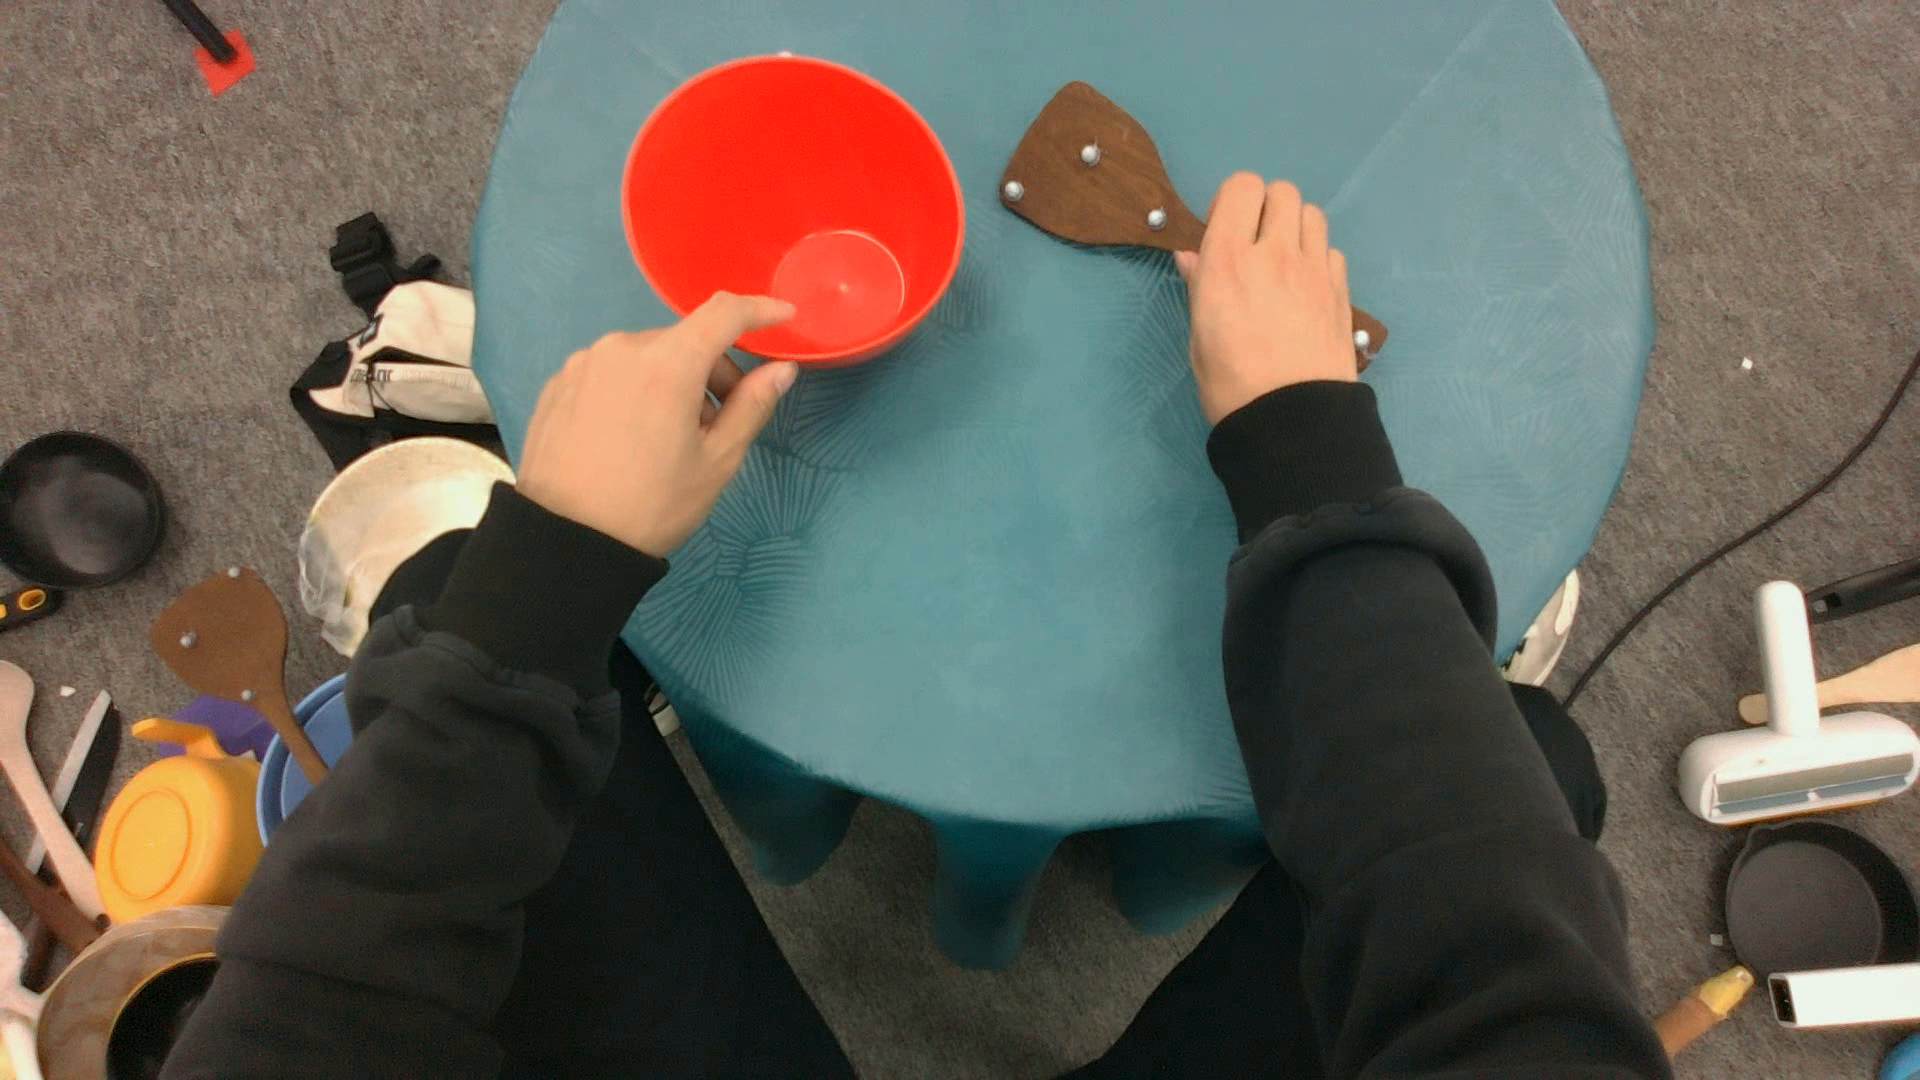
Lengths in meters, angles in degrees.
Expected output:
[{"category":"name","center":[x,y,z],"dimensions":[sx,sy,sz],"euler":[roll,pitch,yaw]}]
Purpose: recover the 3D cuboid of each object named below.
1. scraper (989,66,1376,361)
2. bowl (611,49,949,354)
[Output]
[{"category":"scraper","center":[0.112,-0.155,0.686],"dimensions":[0.211,0.011,0.075],"euler":[36,102,13]},{"category":"bowl","center":[-0.079,-0.145,0.651],"dimensions":[0.148,0.104,0.148],"euler":[0,74,-1]}]
